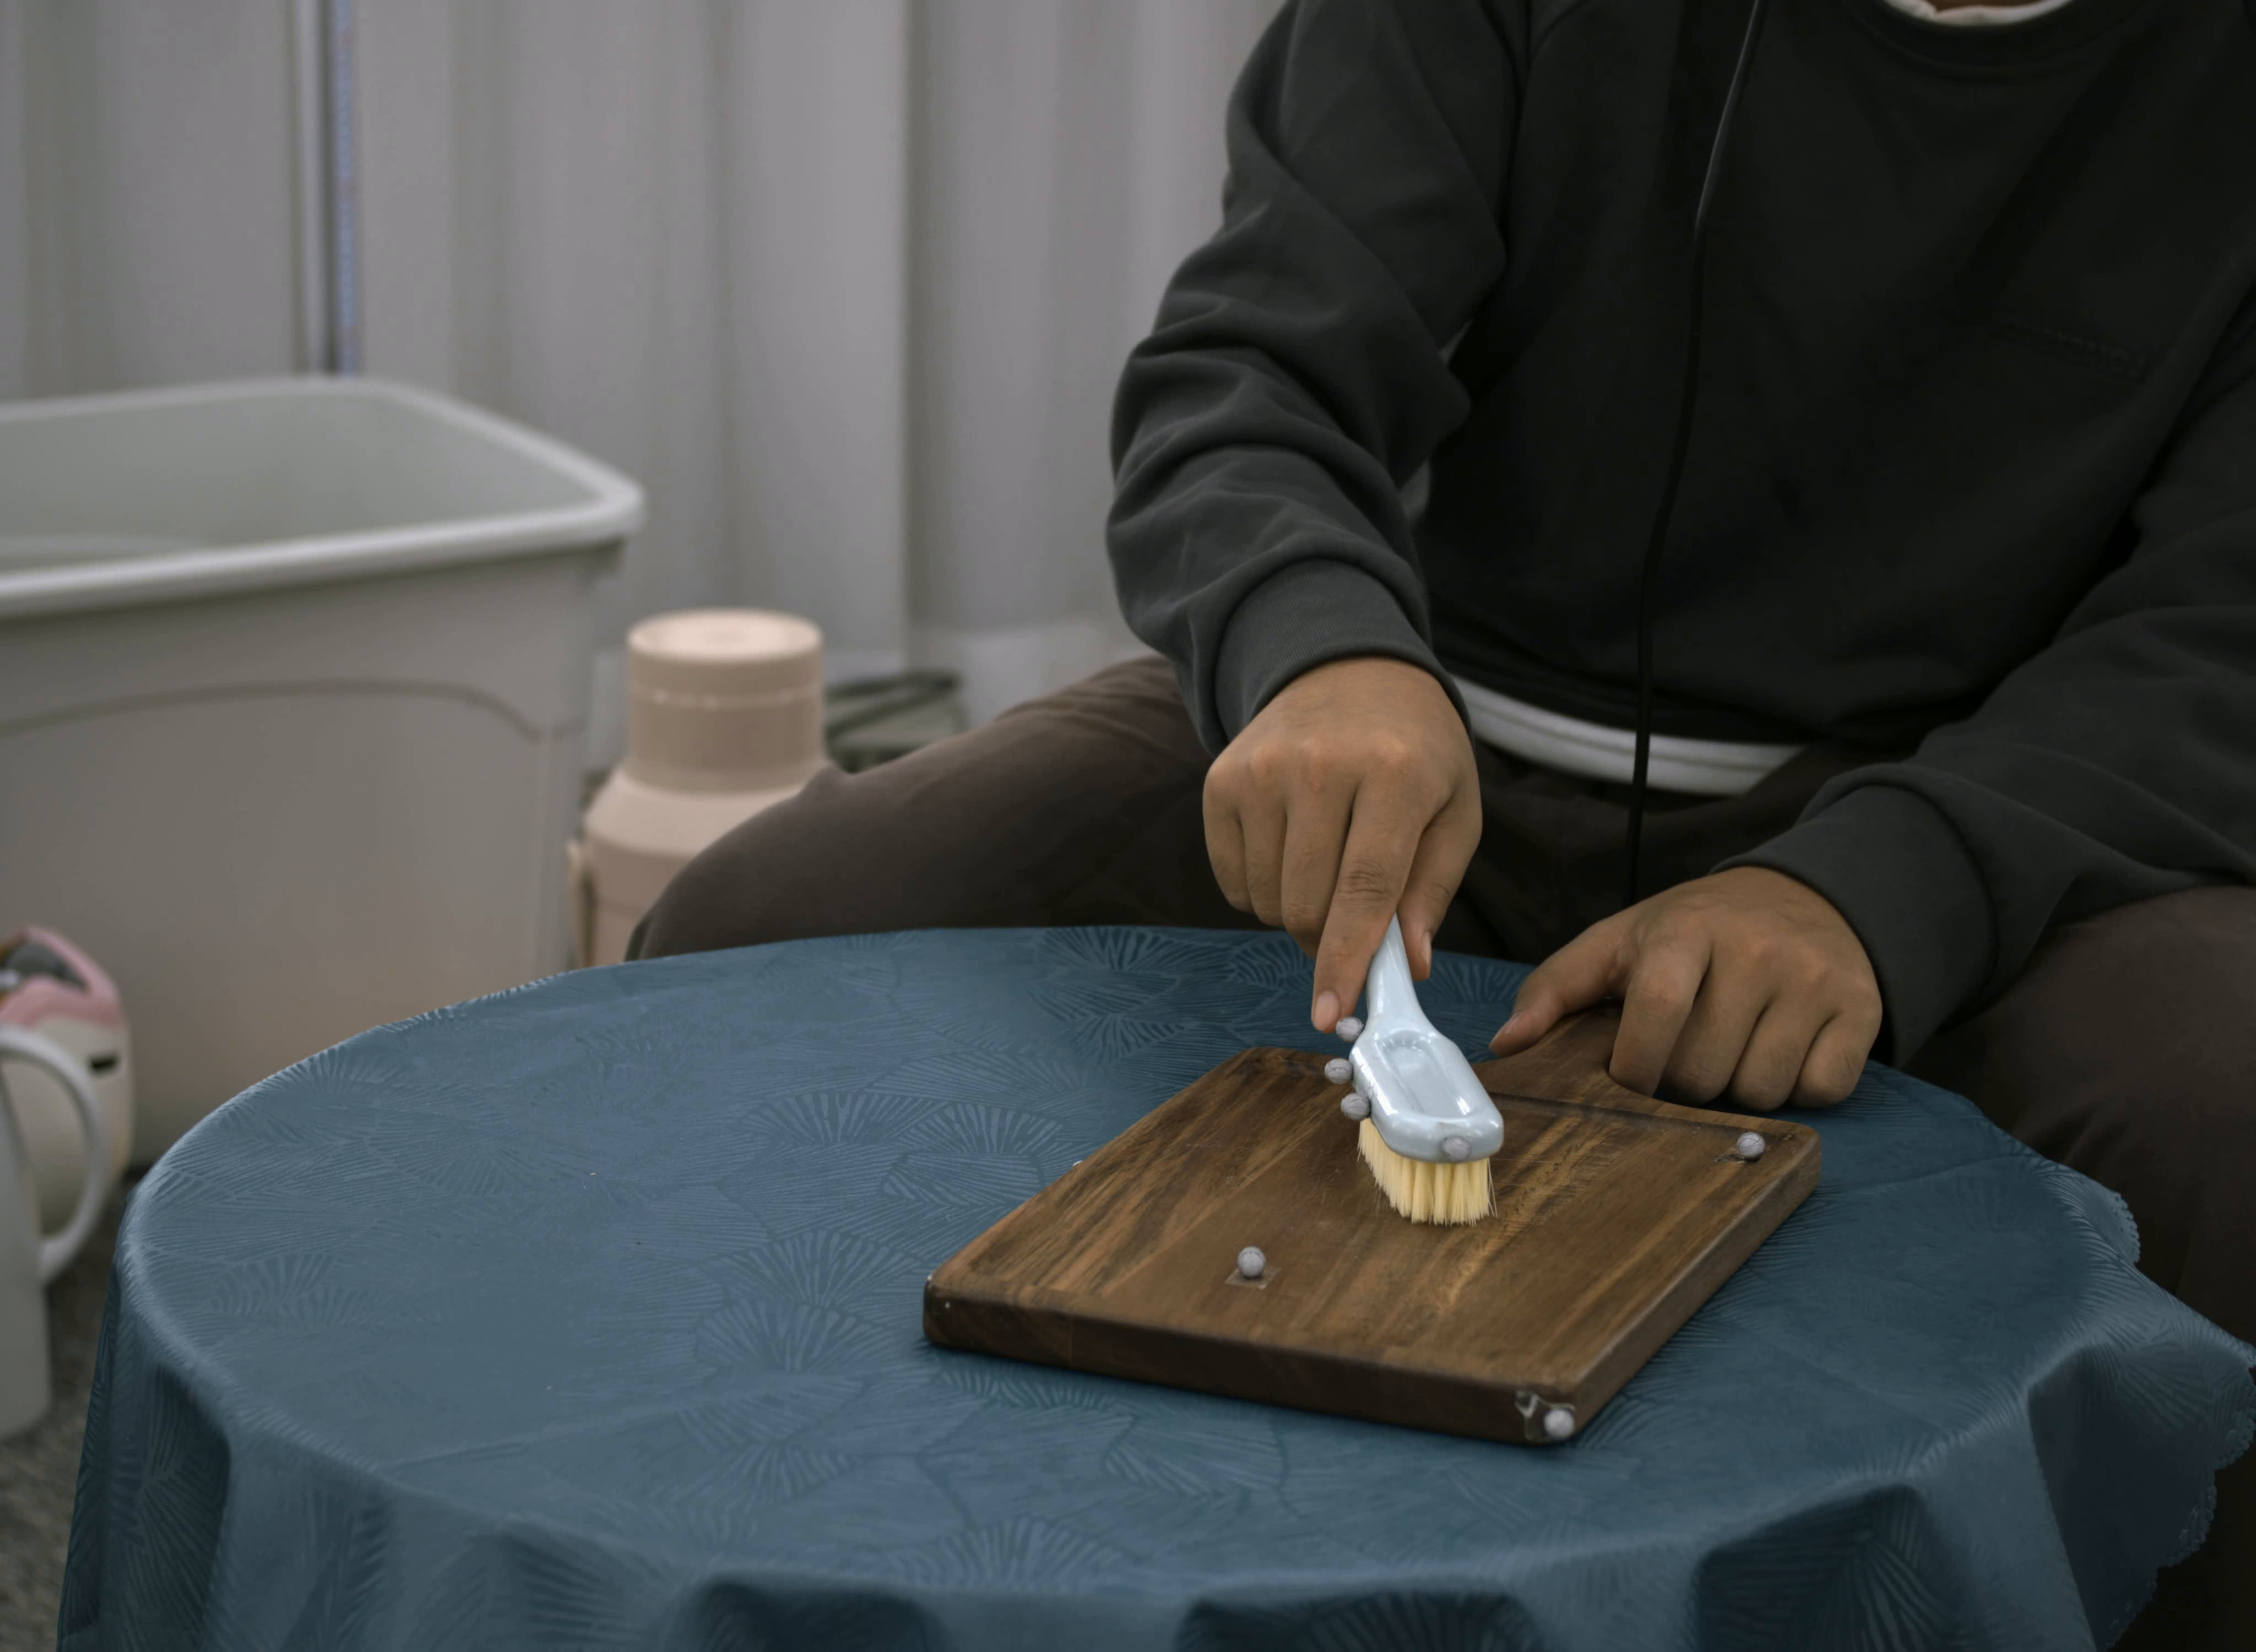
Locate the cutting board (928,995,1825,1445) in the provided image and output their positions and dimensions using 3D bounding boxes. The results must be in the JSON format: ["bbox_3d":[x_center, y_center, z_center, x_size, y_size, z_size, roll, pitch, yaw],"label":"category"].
[{"bbox_3d":[0.100,0.108,1.609,0.199,0.023,0.353,8,17,23],"label":"cutting board"}]

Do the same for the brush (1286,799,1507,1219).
[{"bbox_3d":[0.078,0.054,1.649,0.038,0.050,0.226,-3,30,-10],"label":"brush"}]
